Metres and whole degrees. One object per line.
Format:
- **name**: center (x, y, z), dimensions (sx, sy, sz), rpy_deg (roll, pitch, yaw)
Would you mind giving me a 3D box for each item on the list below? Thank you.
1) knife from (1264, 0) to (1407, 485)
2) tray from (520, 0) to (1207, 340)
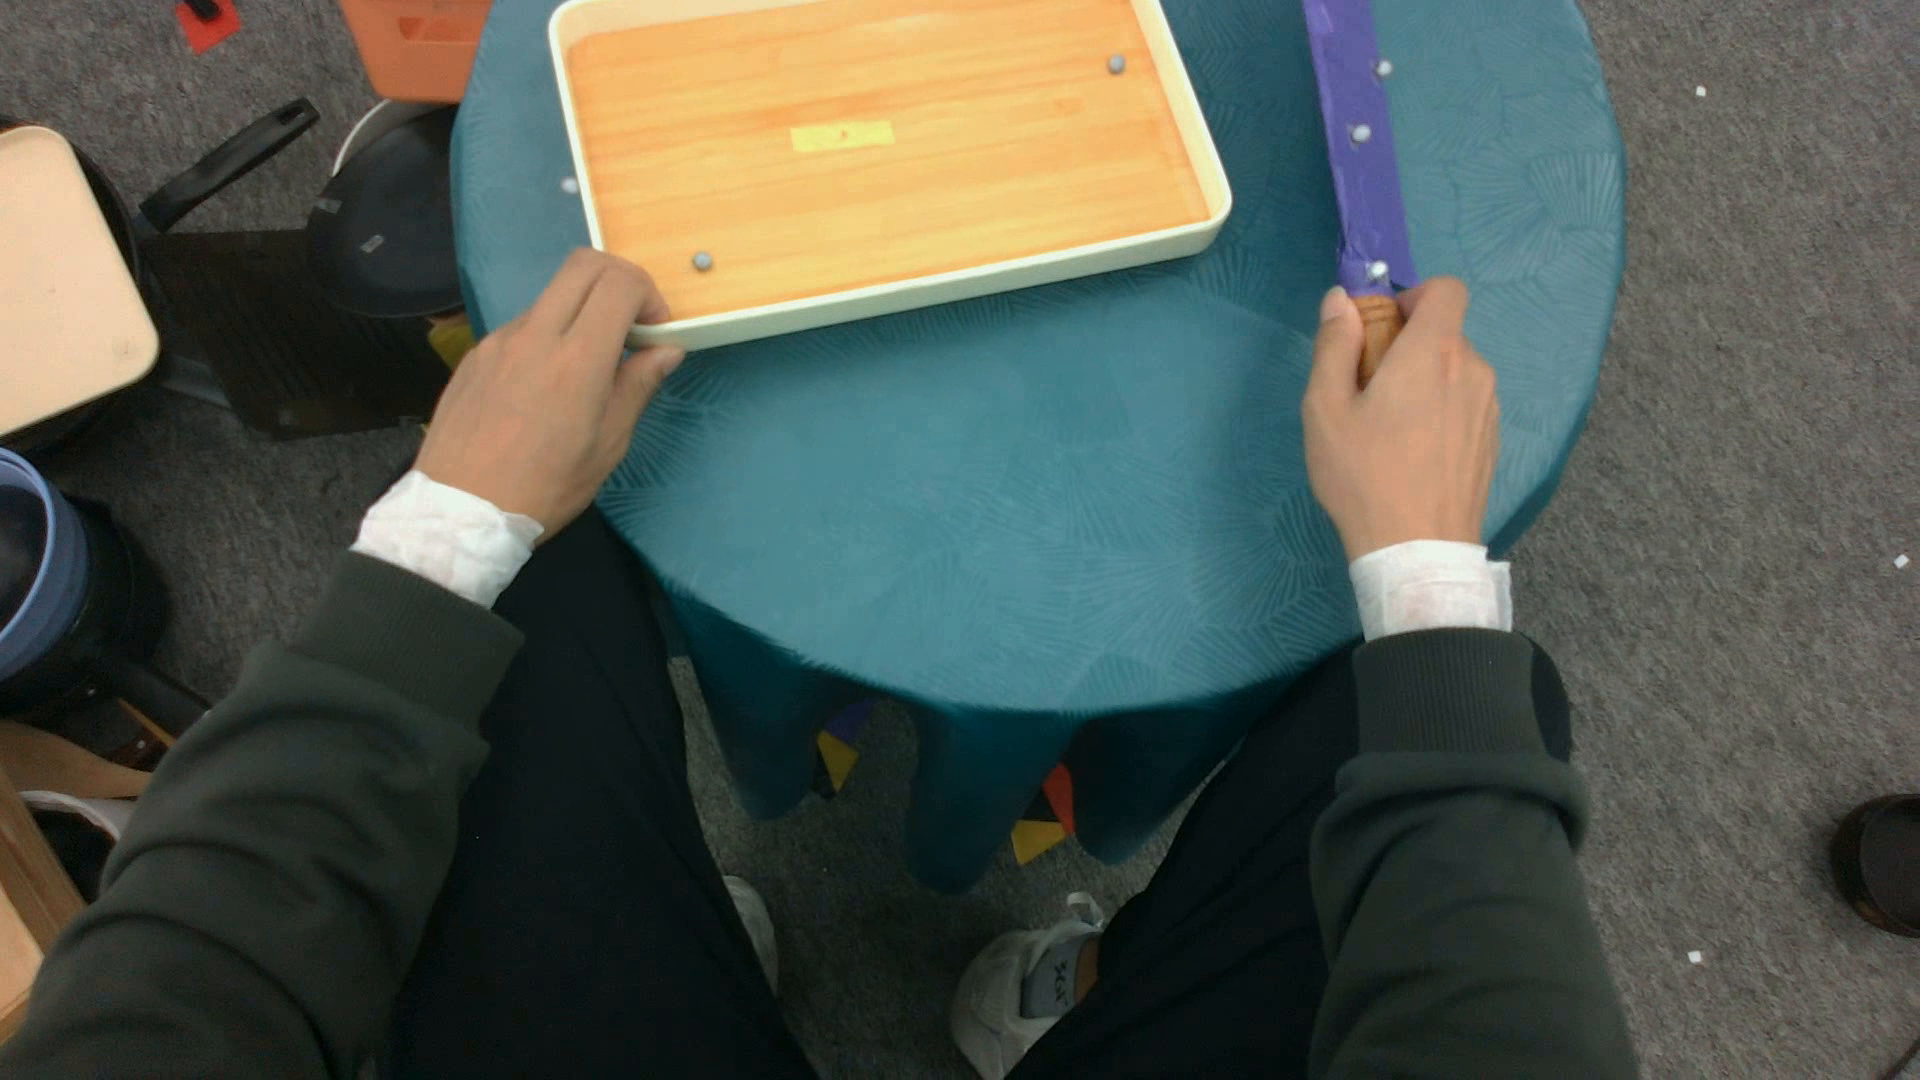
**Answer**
- **knife**: center (0.177, -0.183, 0.652), dimensions (0.032, 0.104, 0.315), rpy_deg (-11, 87, 34)
- **tray**: center (-0.045, -0.208, 0.669), dimensions (0.301, 0.027, 0.192), rpy_deg (-13, 72, -13)
